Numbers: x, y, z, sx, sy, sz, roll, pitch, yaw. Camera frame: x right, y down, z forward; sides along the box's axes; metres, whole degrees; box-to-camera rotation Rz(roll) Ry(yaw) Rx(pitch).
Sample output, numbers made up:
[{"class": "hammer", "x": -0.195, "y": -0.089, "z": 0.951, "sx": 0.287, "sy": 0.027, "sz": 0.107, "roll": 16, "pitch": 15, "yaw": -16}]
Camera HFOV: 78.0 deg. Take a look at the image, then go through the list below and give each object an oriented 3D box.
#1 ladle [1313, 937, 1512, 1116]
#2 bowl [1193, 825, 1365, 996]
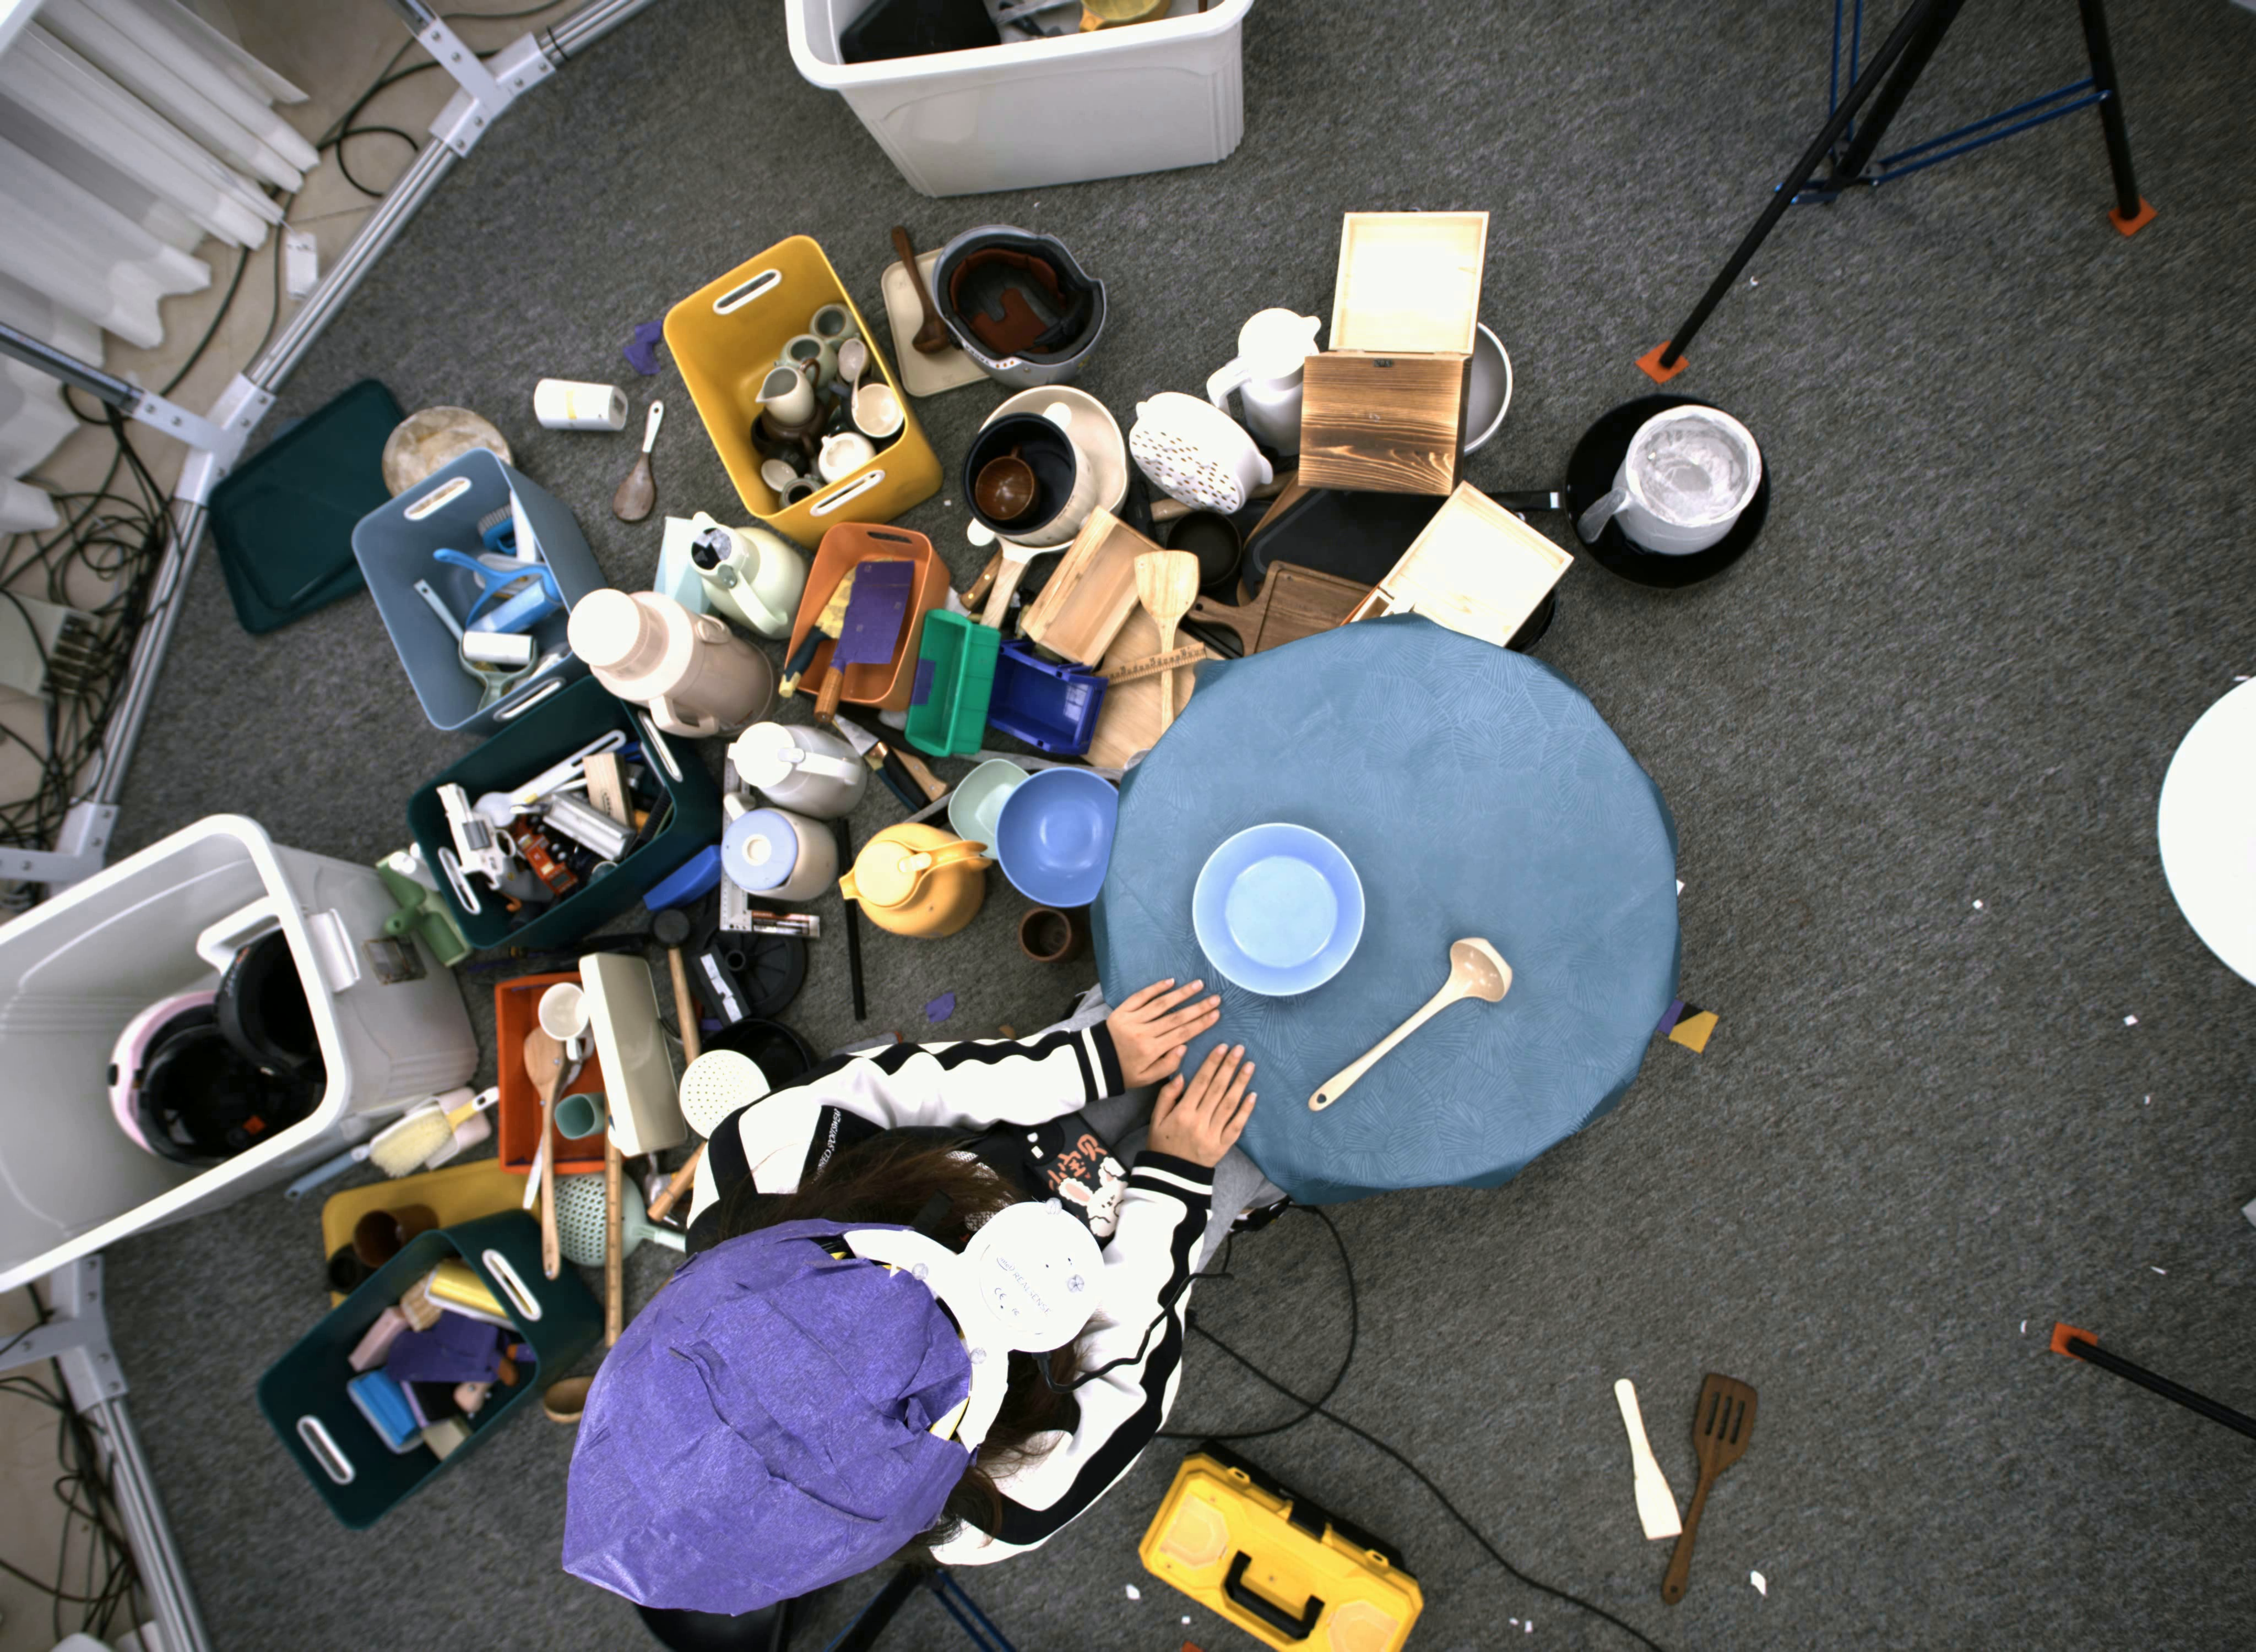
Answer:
[{"class": "ladle", "x": 0.284, "y": 0.211, "z": 1.413, "sx": 0.255, "sy": 0.073, "sz": 0.072, "roll": -42, "pitch": 79, "yaw": 5}, {"class": "bowl", "x": 0.159, "y": 0.089, "z": 1.444, "sx": 0.177, "sy": 0.070, "sz": 0.175, "roll": -1, "pitch": 85, "yaw": 11}]
